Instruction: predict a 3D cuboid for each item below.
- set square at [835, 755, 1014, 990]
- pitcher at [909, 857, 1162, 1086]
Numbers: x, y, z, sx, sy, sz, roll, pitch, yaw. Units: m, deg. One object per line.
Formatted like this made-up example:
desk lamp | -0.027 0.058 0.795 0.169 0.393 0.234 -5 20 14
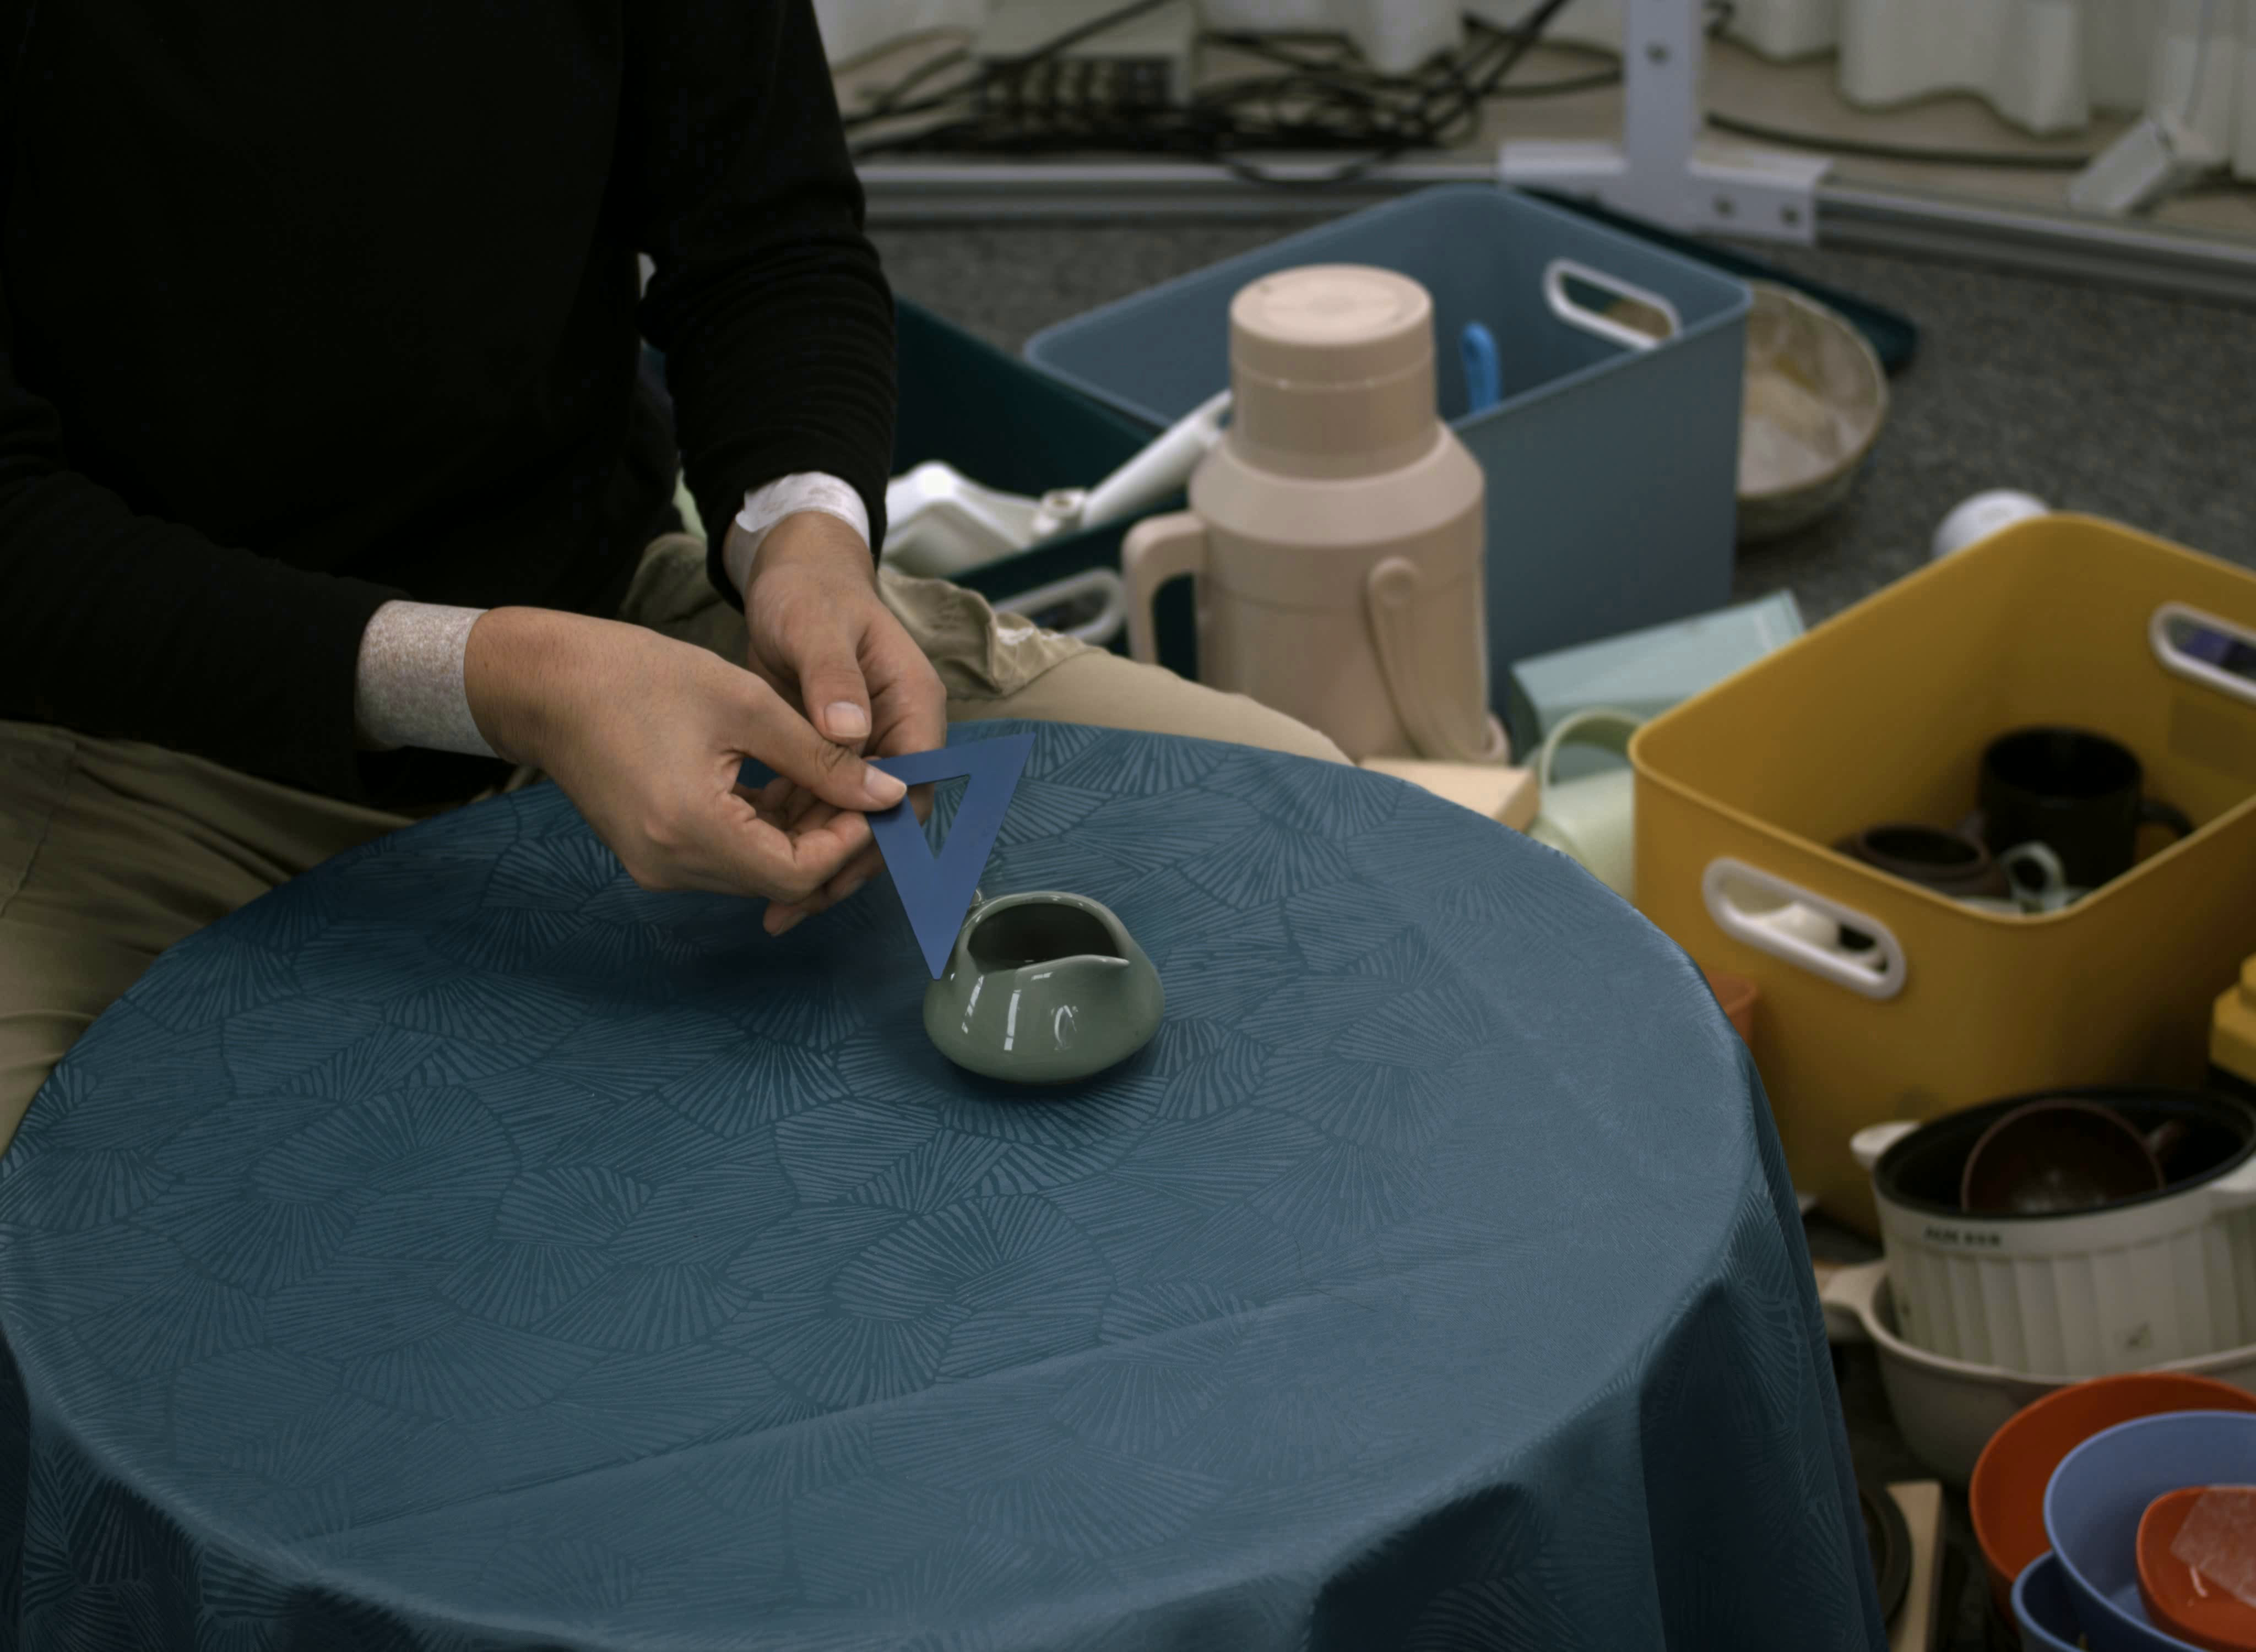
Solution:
set square | -0.085 0.010 1.958 0.061 0.006 0.134 13 41 11
pitcher | -0.035 0.051 1.941 0.085 0.055 0.112 -24 34 -39
